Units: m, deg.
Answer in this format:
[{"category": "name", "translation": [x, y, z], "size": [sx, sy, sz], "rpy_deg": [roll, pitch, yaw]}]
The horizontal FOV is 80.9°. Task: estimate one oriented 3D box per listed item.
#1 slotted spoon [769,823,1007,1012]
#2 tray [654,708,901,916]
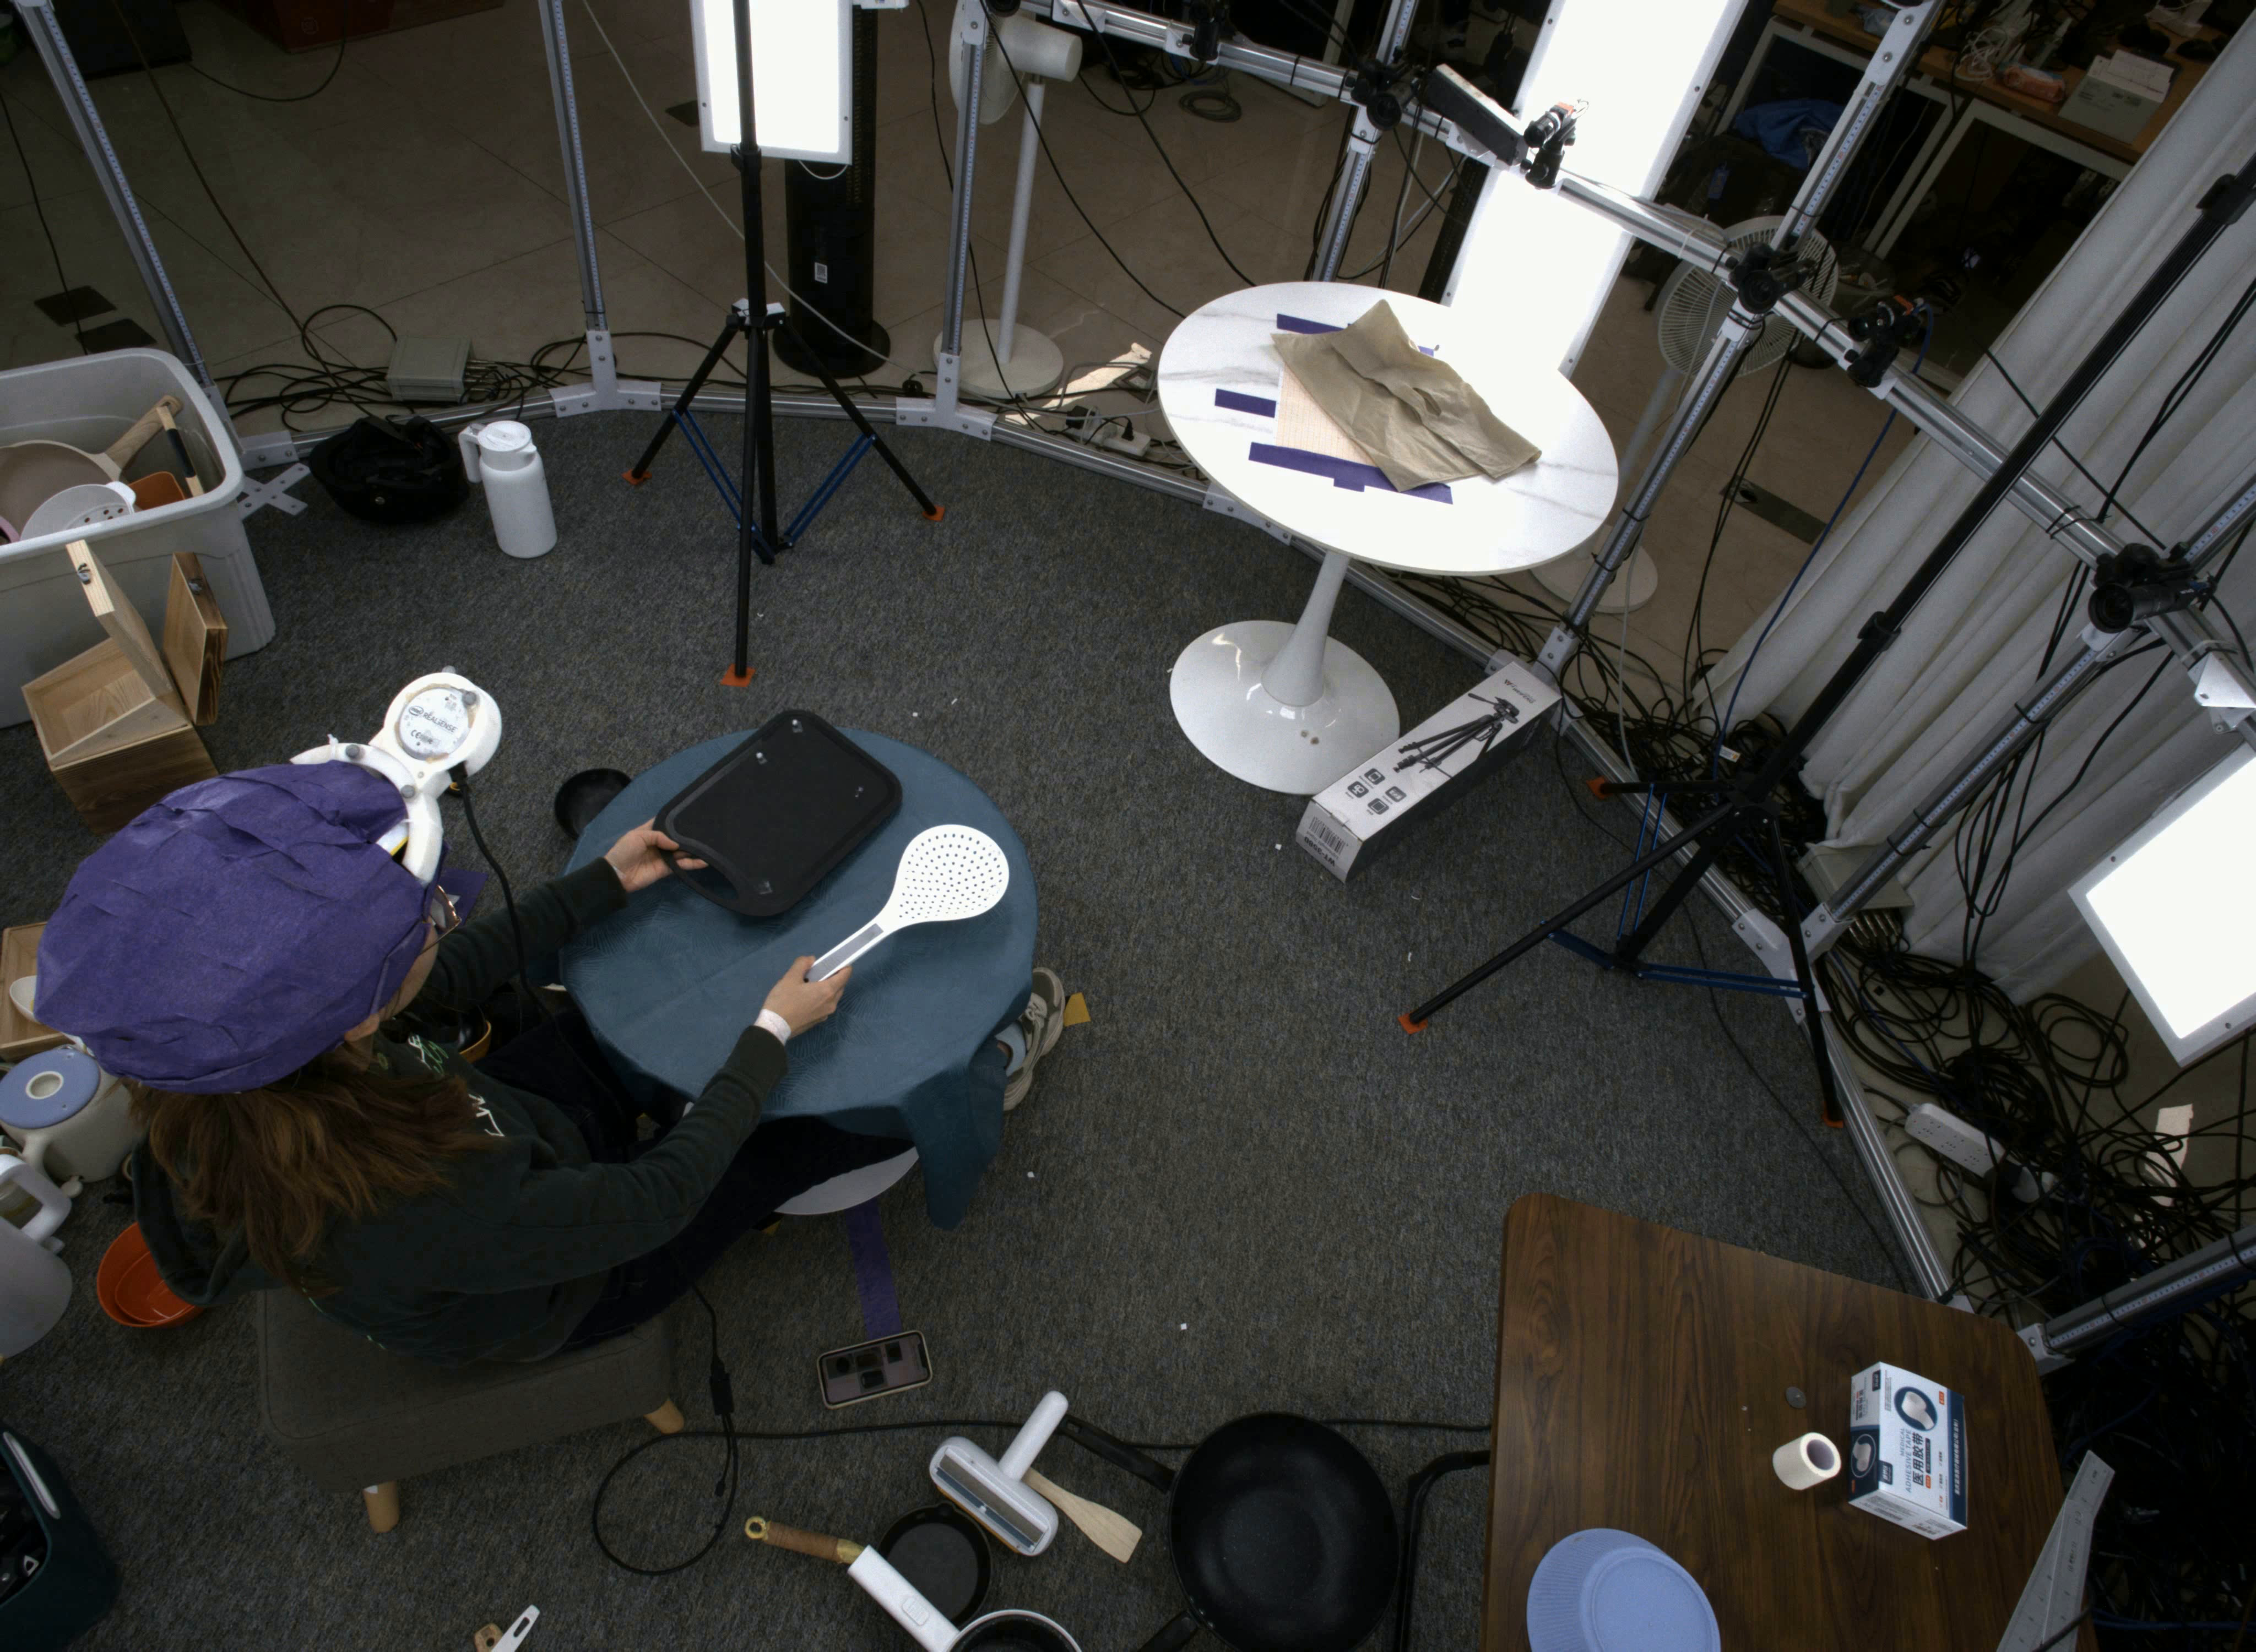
[{"category": "slotted spoon", "translation": [-0.295, 0.114, 1.601], "size": [0.134, 0.046, 0.350], "rpy_deg": [43, 53, 13]}, {"category": "tray", "translation": [-0.454, -0.022, 1.683], "size": [0.210, 0.010, 0.324], "rpy_deg": [38, 49, 2]}]
